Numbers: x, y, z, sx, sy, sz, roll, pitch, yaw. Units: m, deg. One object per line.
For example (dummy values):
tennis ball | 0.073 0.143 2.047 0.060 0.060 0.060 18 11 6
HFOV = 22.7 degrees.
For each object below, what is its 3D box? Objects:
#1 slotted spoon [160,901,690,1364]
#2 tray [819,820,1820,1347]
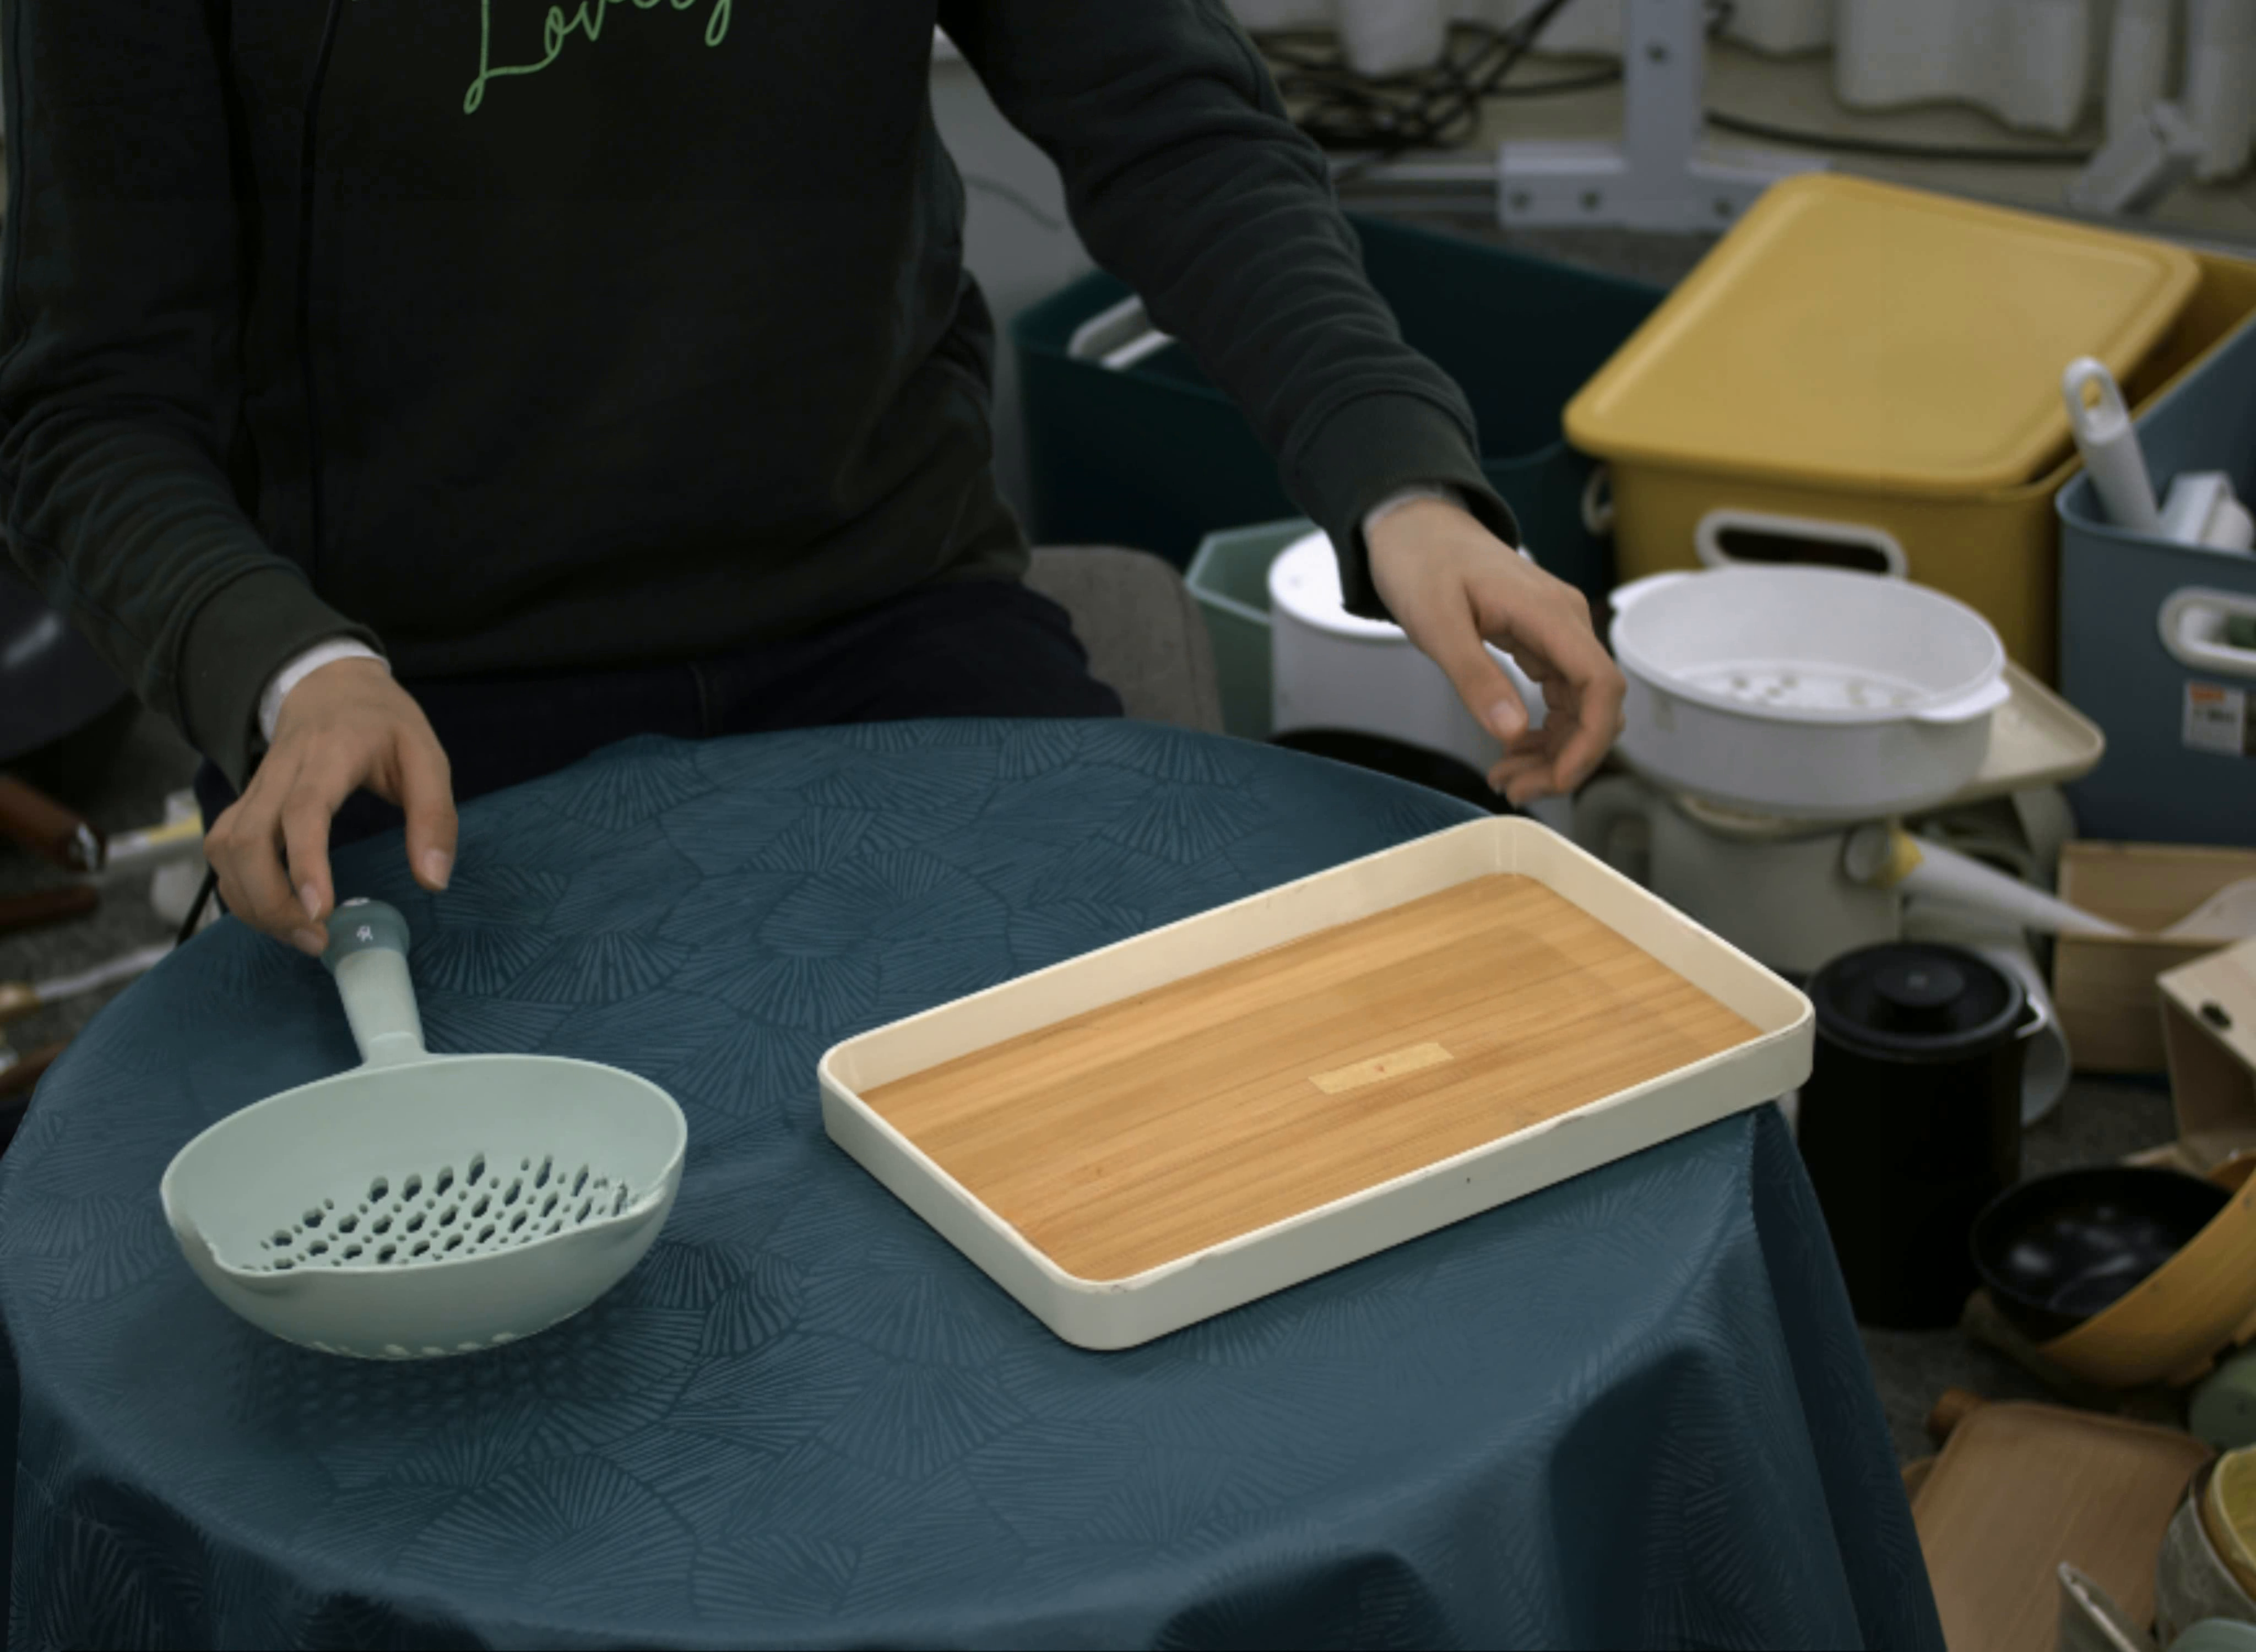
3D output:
slotted spoon | -0.243 0.087 1.883 0.169 0.074 0.363 -8 28 -10
tray | 0.065 0.082 1.903 0.302 0.027 0.192 -18 31 -27
